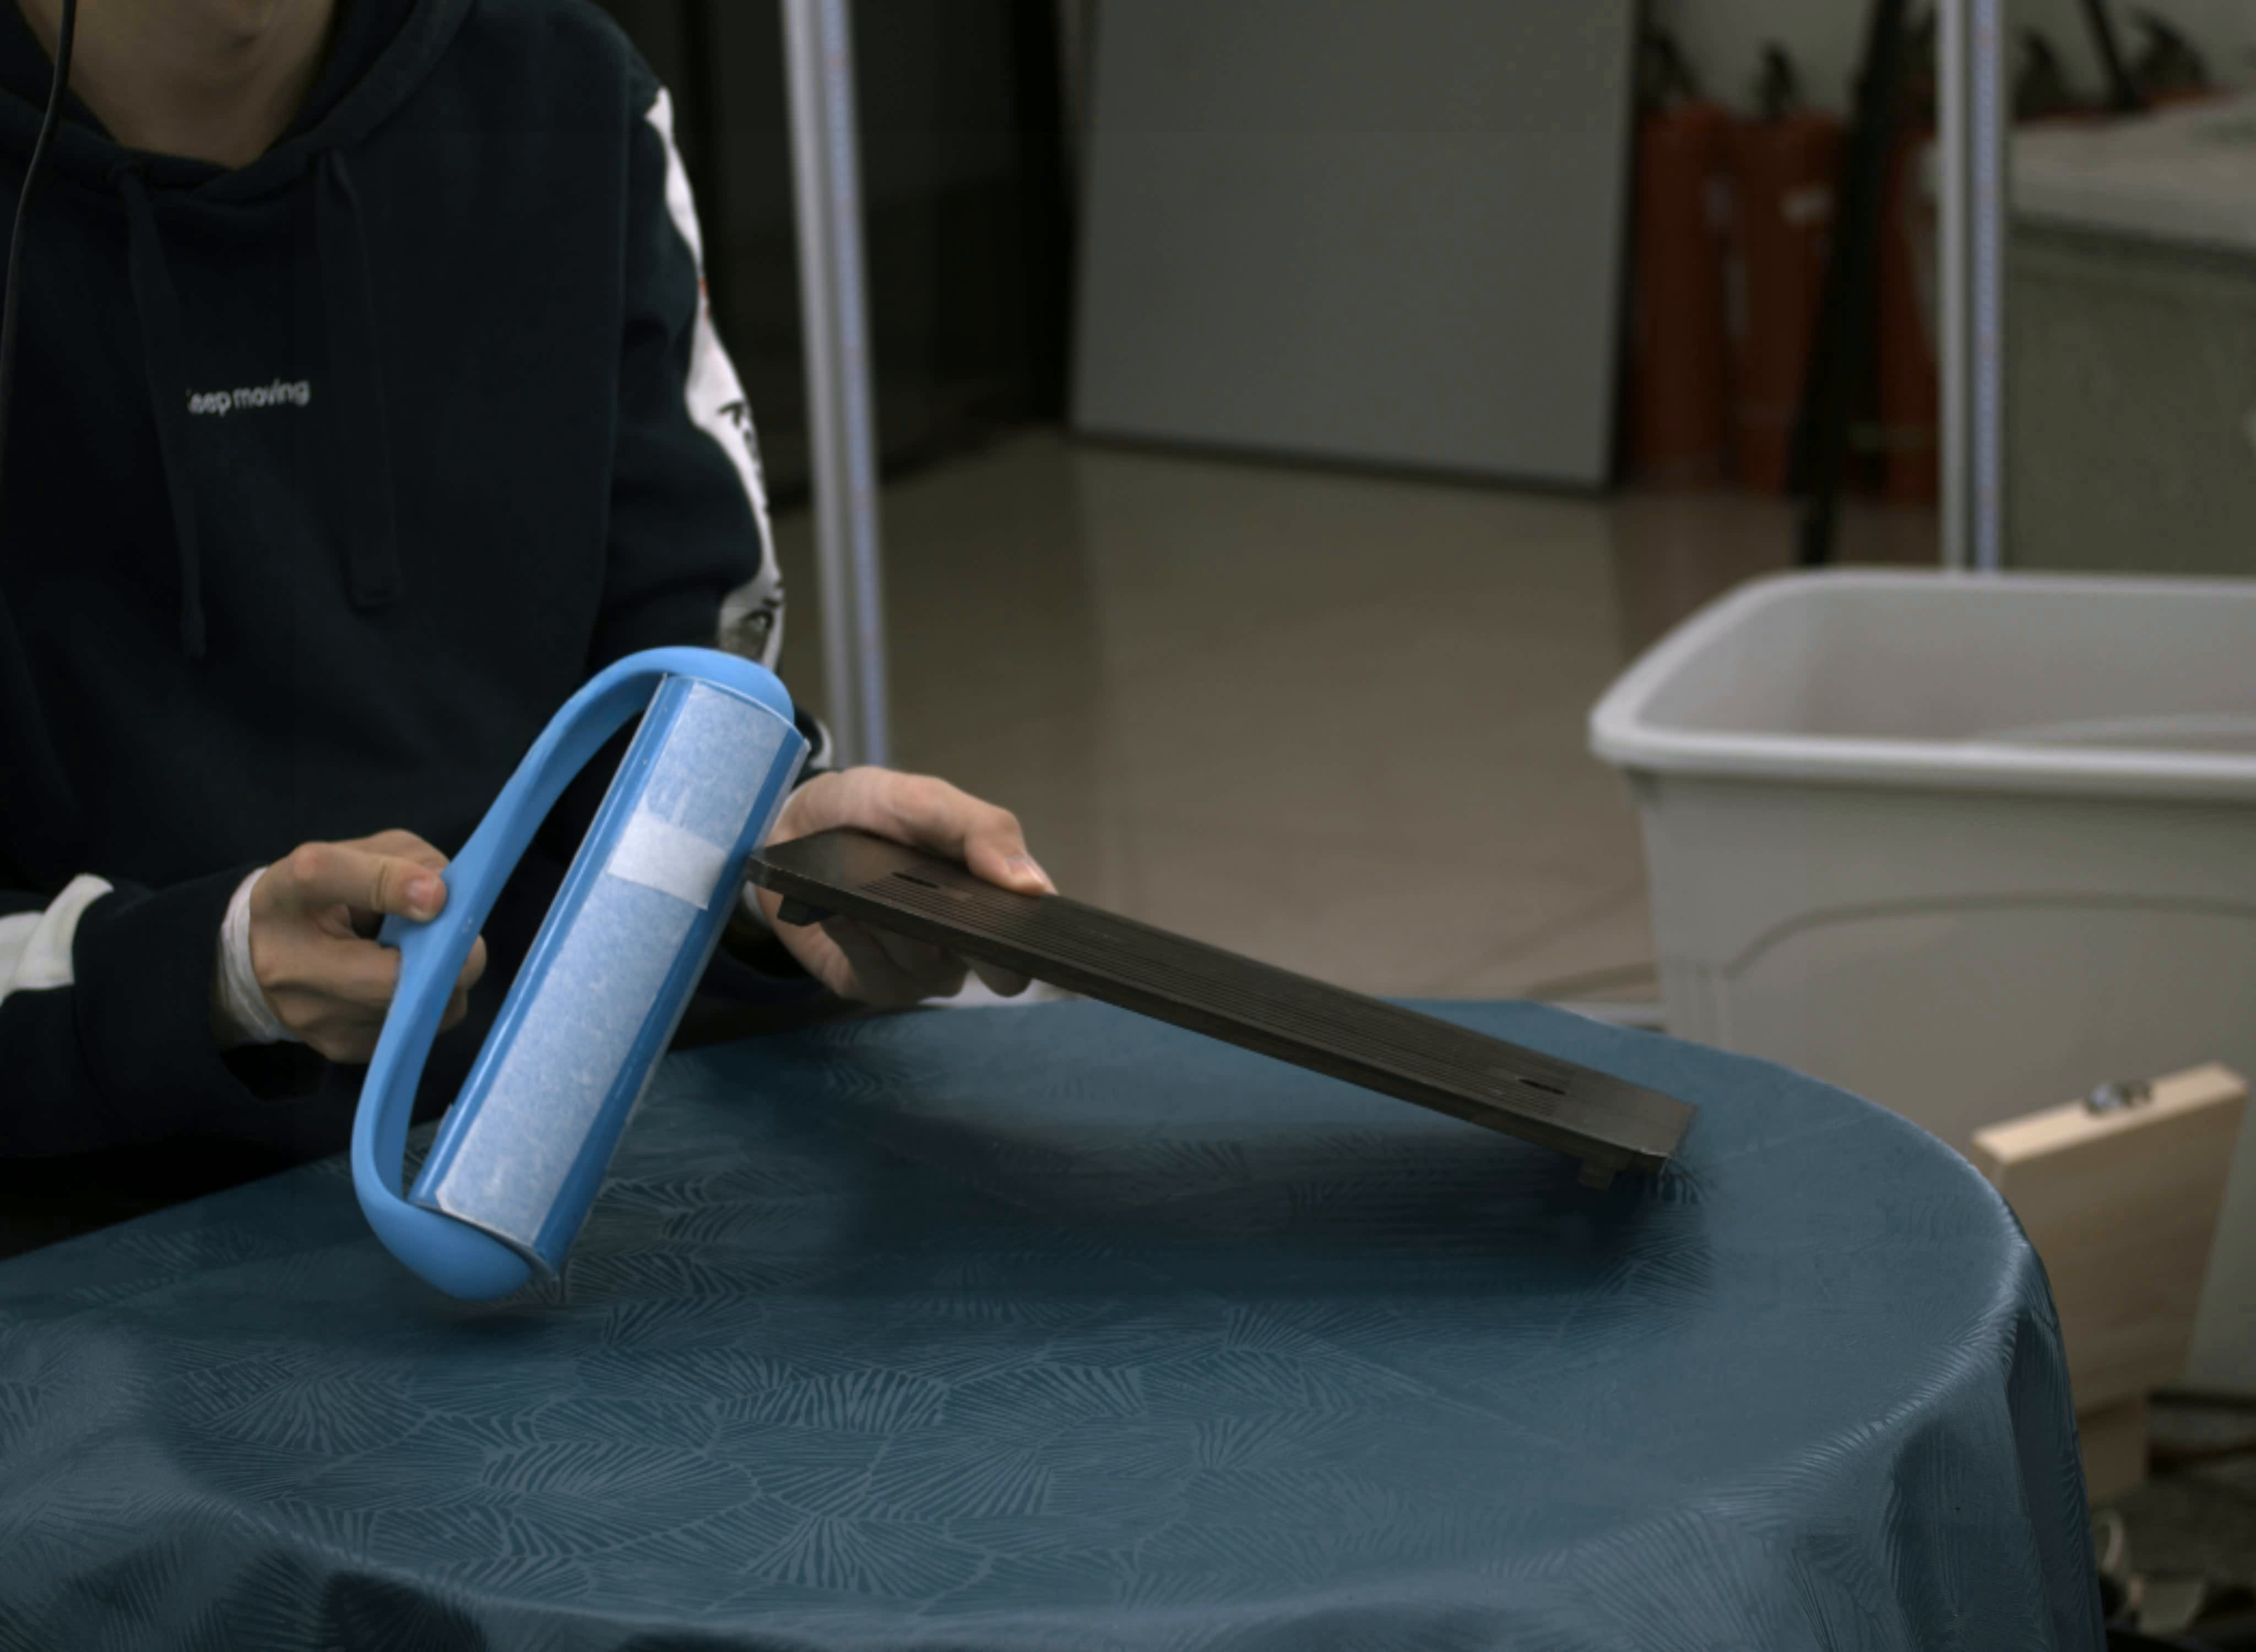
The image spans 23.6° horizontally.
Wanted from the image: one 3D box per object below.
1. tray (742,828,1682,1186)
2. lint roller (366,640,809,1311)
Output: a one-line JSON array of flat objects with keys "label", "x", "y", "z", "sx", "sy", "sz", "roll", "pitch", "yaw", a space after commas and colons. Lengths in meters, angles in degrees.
[{"label": "tray", "x": 0.030, "y": 0.057, "z": 1.741, "sx": 0.304, "sy": 0.019, "sz": 0.169, "roll": 18, "pitch": 5, "yaw": 8}, {"label": "lint roller", "x": -0.203, "y": 0.047, "z": 1.750, "sx": 0.182, "sy": 0.230, "sz": 0.067, "roll": -2, "pitch": -29, "yaw": 47}]
